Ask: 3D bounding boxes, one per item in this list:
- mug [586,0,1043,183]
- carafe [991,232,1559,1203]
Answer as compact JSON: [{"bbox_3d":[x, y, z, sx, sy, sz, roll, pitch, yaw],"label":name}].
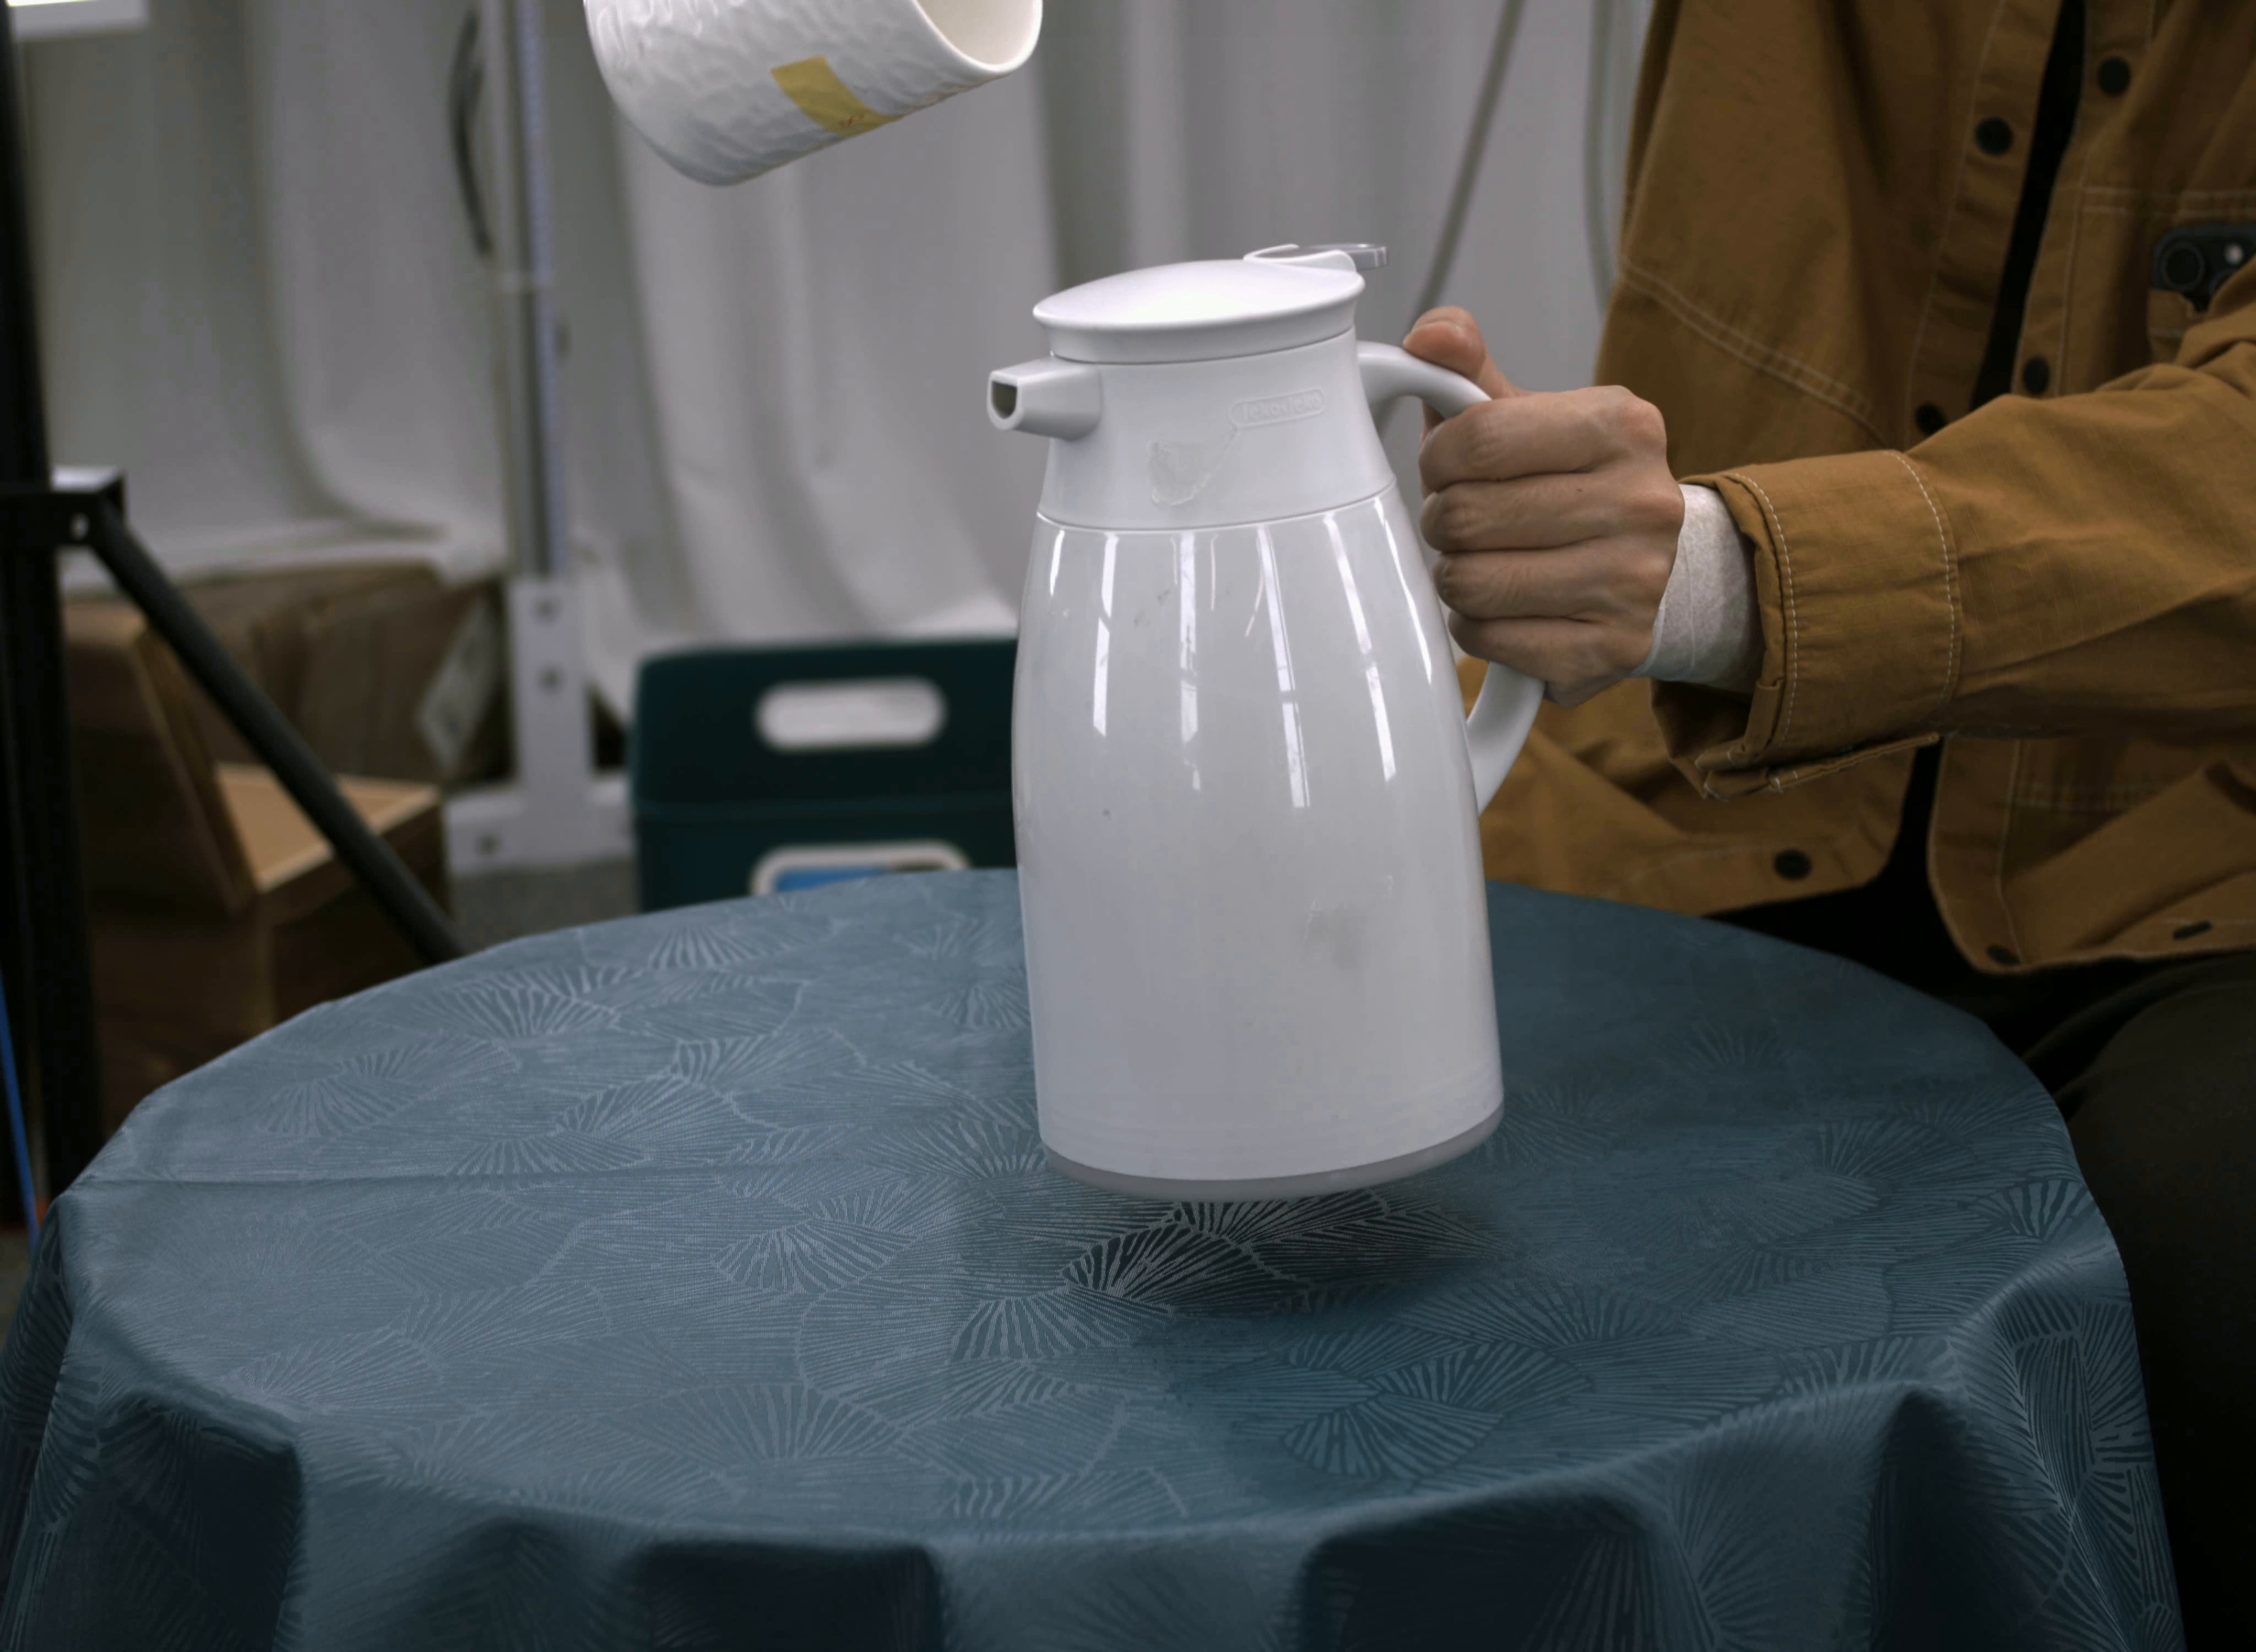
[{"bbox_3d":[-0.087,-0.247,1.503,0.103,0.083,0.119,-20,43,30],"label":"mug"},{"bbox_3d":[0.047,-0.037,1.480,0.164,0.249,0.135,-11,13,-26],"label":"carafe"}]
